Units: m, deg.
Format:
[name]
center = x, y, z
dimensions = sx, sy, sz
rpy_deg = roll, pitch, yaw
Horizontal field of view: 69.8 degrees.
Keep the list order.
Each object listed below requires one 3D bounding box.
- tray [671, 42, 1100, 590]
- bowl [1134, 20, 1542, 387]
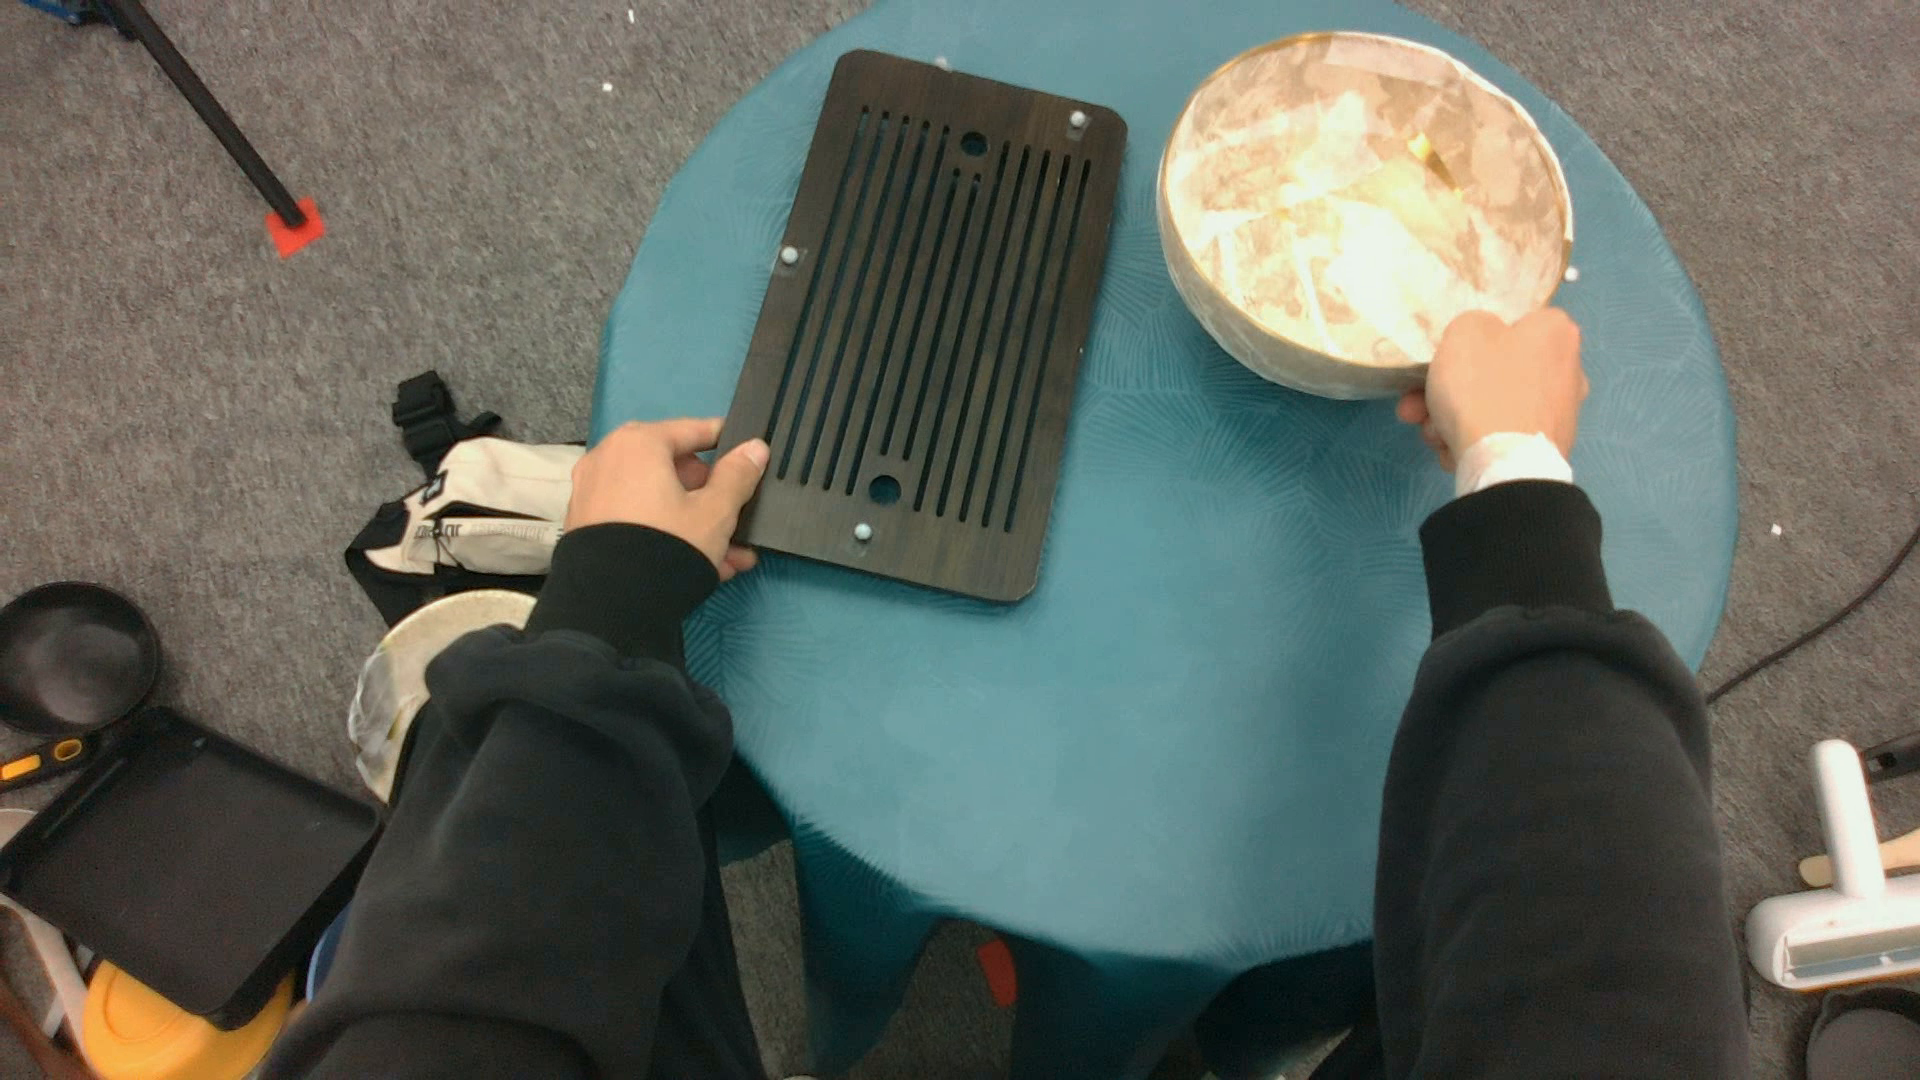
[tray]
center = -0.031, -0.128, 0.730
dimensions = 0.170, 0.018, 0.307
rpy_deg = 13, 67, -1
[bowl]
center = 0.180, -0.159, 0.714
dimensions = 0.215, 0.094, 0.215
rpy_deg = 2, 67, -5
